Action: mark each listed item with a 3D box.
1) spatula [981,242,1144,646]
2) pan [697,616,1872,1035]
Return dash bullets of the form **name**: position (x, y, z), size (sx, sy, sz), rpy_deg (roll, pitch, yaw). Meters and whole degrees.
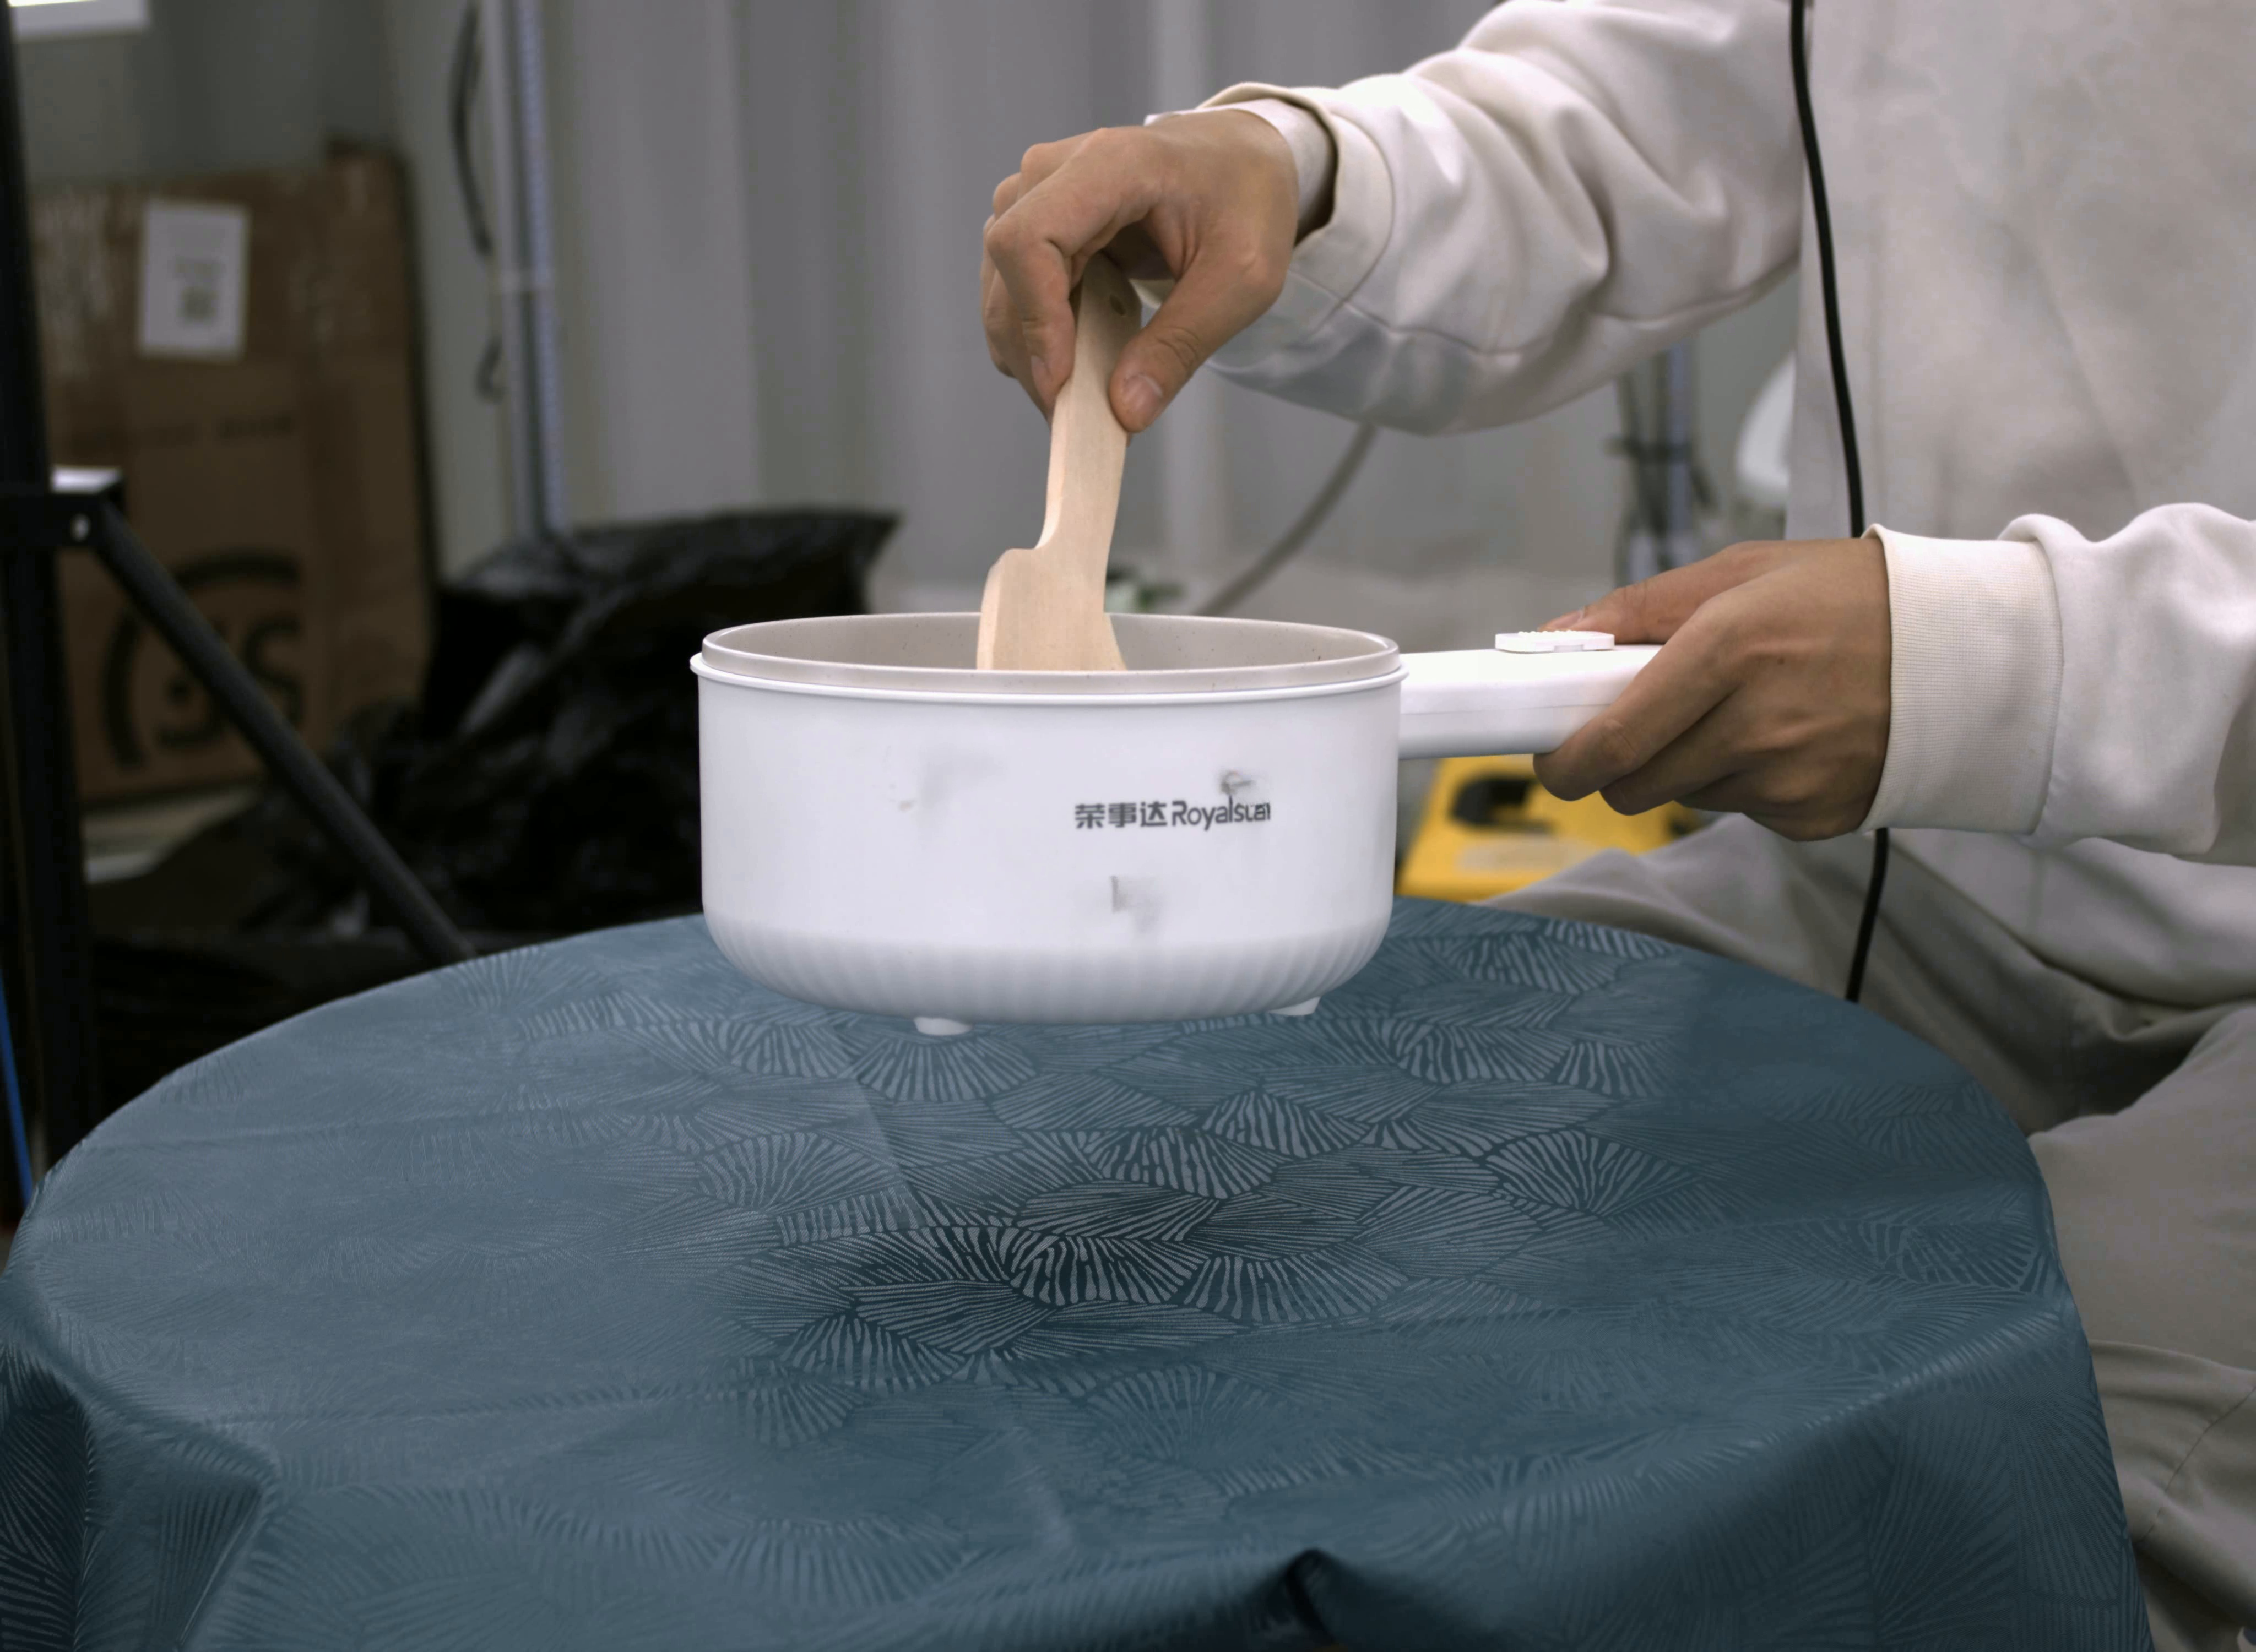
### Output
- **spatula**: position (-0.012, -0.095, 1.577), size (0.011, 0.071, 0.295), rpy_deg (-33, 27, 23)
- **pan**: position (0.049, -0.003, 1.518), size (0.347, 0.102, 0.204), rpy_deg (-1, 6, -22)
